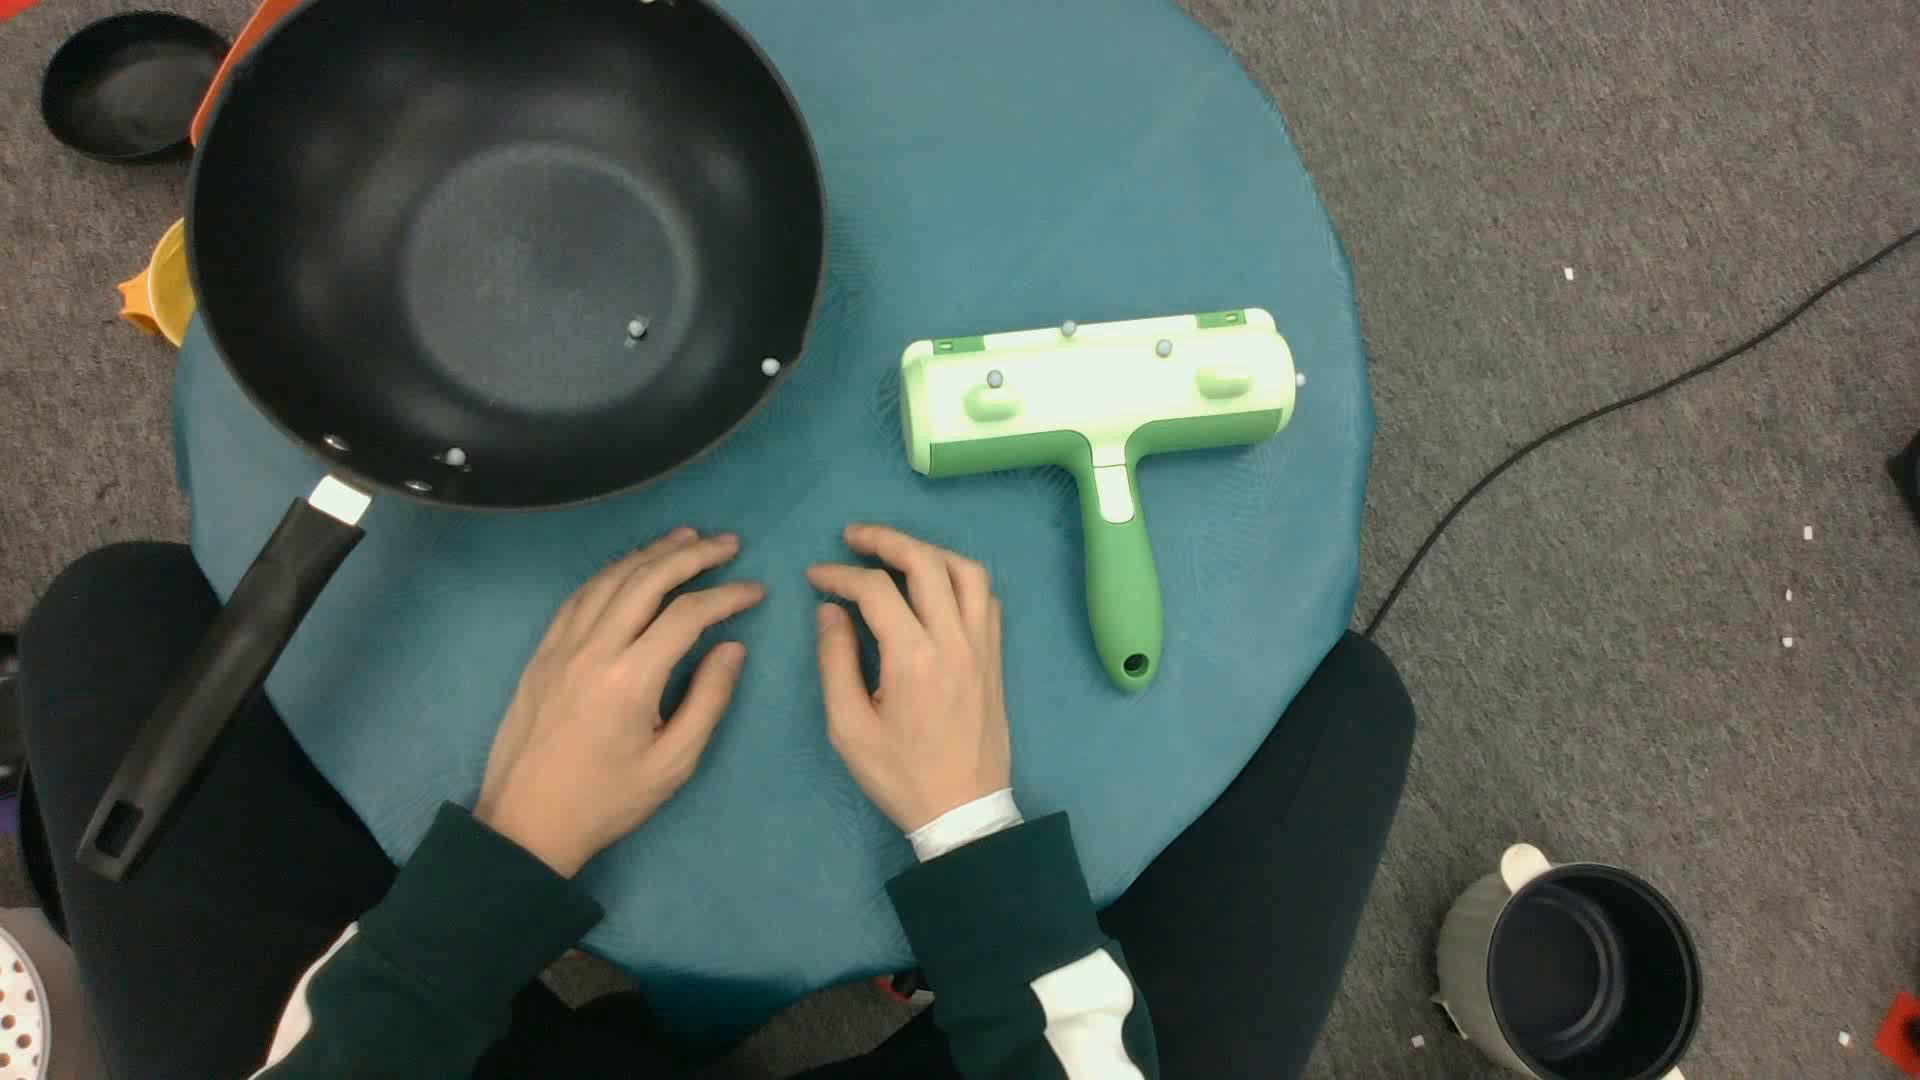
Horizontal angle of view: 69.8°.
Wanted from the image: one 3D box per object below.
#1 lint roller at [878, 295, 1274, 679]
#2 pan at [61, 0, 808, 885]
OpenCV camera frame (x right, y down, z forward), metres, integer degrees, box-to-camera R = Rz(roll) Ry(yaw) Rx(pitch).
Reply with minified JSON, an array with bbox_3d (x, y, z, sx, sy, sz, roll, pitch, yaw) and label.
[{"bbox_3d":[0.068,-0.027,0.674,0.199,0.082,0.183,-7,74,-9],"label":"lint roller"},{"bbox_3d":[-0.252,-0.060,0.637,0.288,0.086,0.464,25,78,-1],"label":"pan"}]
